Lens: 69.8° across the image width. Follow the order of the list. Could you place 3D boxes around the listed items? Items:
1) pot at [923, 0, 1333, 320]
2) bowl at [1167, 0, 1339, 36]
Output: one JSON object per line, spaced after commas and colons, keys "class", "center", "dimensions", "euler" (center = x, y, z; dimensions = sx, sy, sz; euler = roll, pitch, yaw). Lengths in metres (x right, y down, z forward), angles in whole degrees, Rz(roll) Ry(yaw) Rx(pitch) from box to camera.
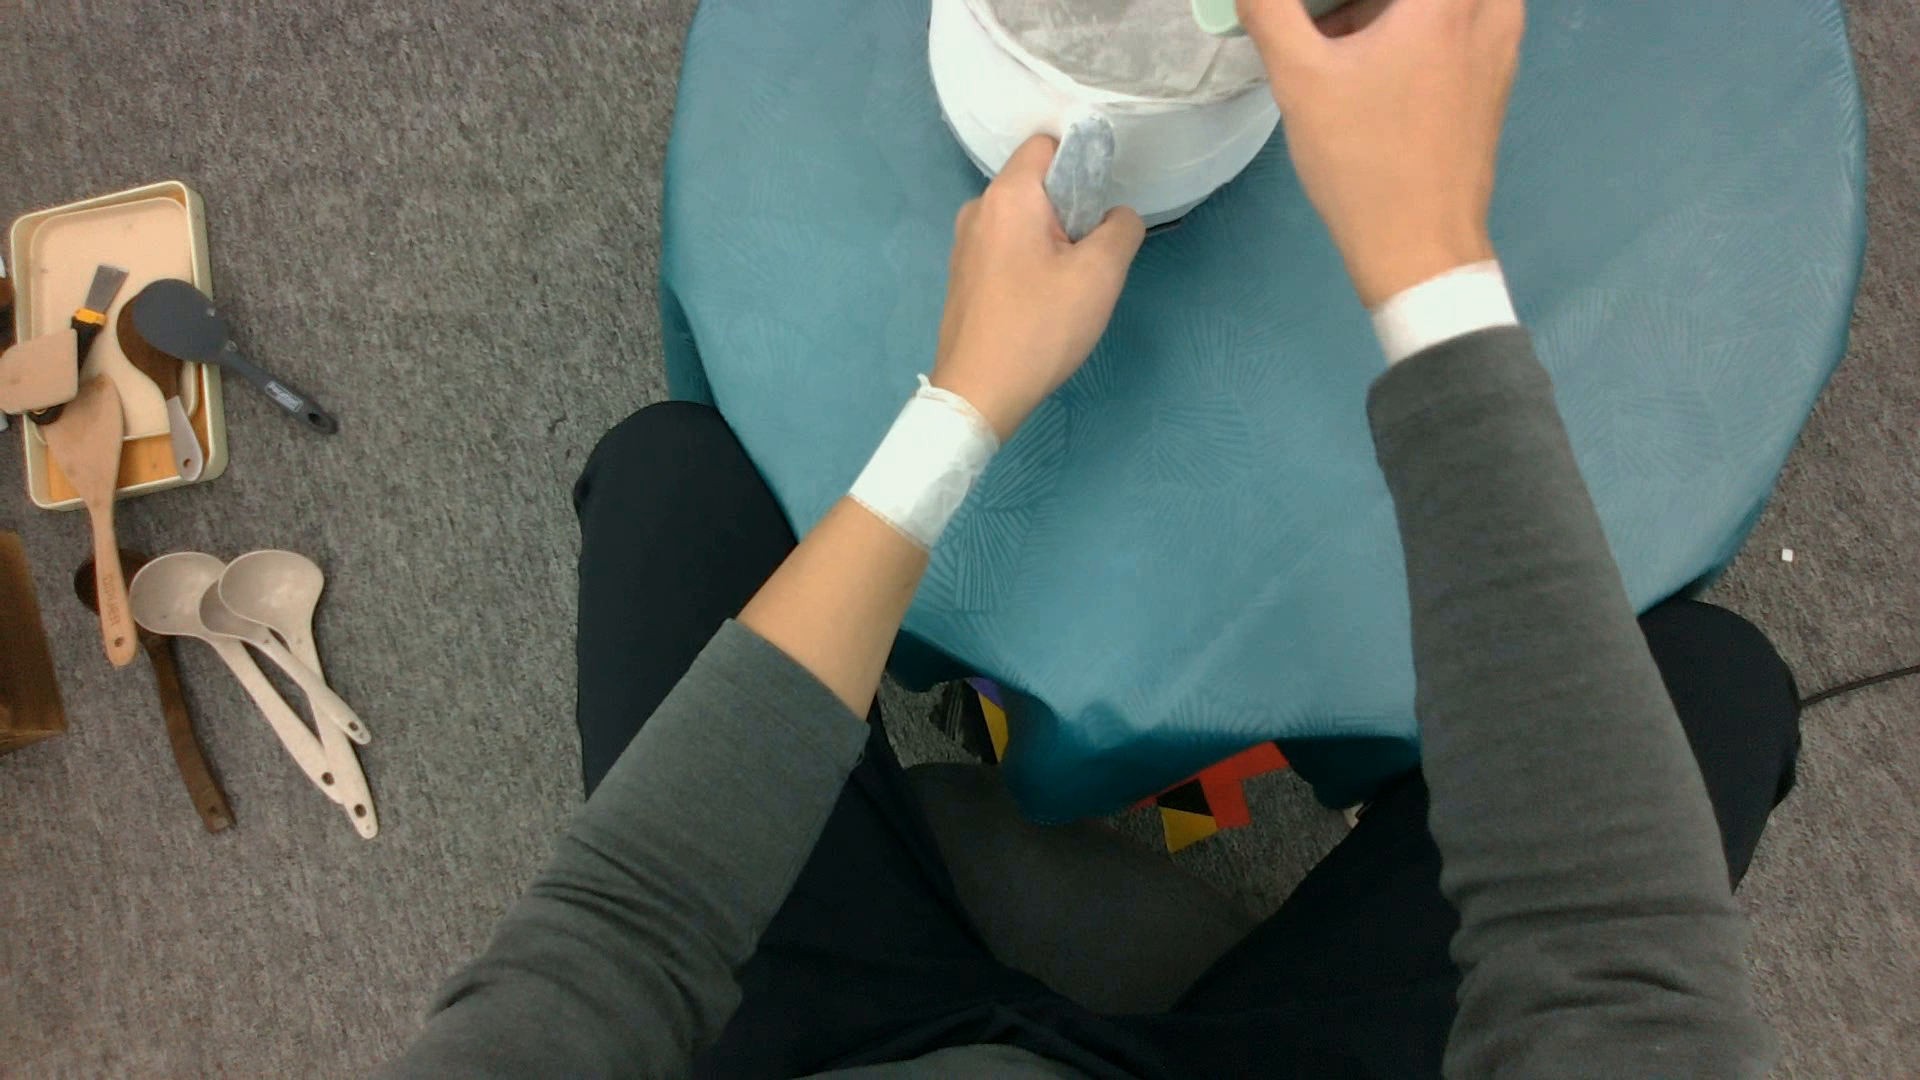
{"class": "pot", "center": [0.066, -0.223, 0.632], "dimensions": [0.179, 0.136, 0.234], "euler": [14, 77, 0]}
{"class": "bowl", "center": [0.136, -0.263, 0.528], "dimensions": [0.059, 0.151, 0.151], "euler": [11, 82, -17]}
